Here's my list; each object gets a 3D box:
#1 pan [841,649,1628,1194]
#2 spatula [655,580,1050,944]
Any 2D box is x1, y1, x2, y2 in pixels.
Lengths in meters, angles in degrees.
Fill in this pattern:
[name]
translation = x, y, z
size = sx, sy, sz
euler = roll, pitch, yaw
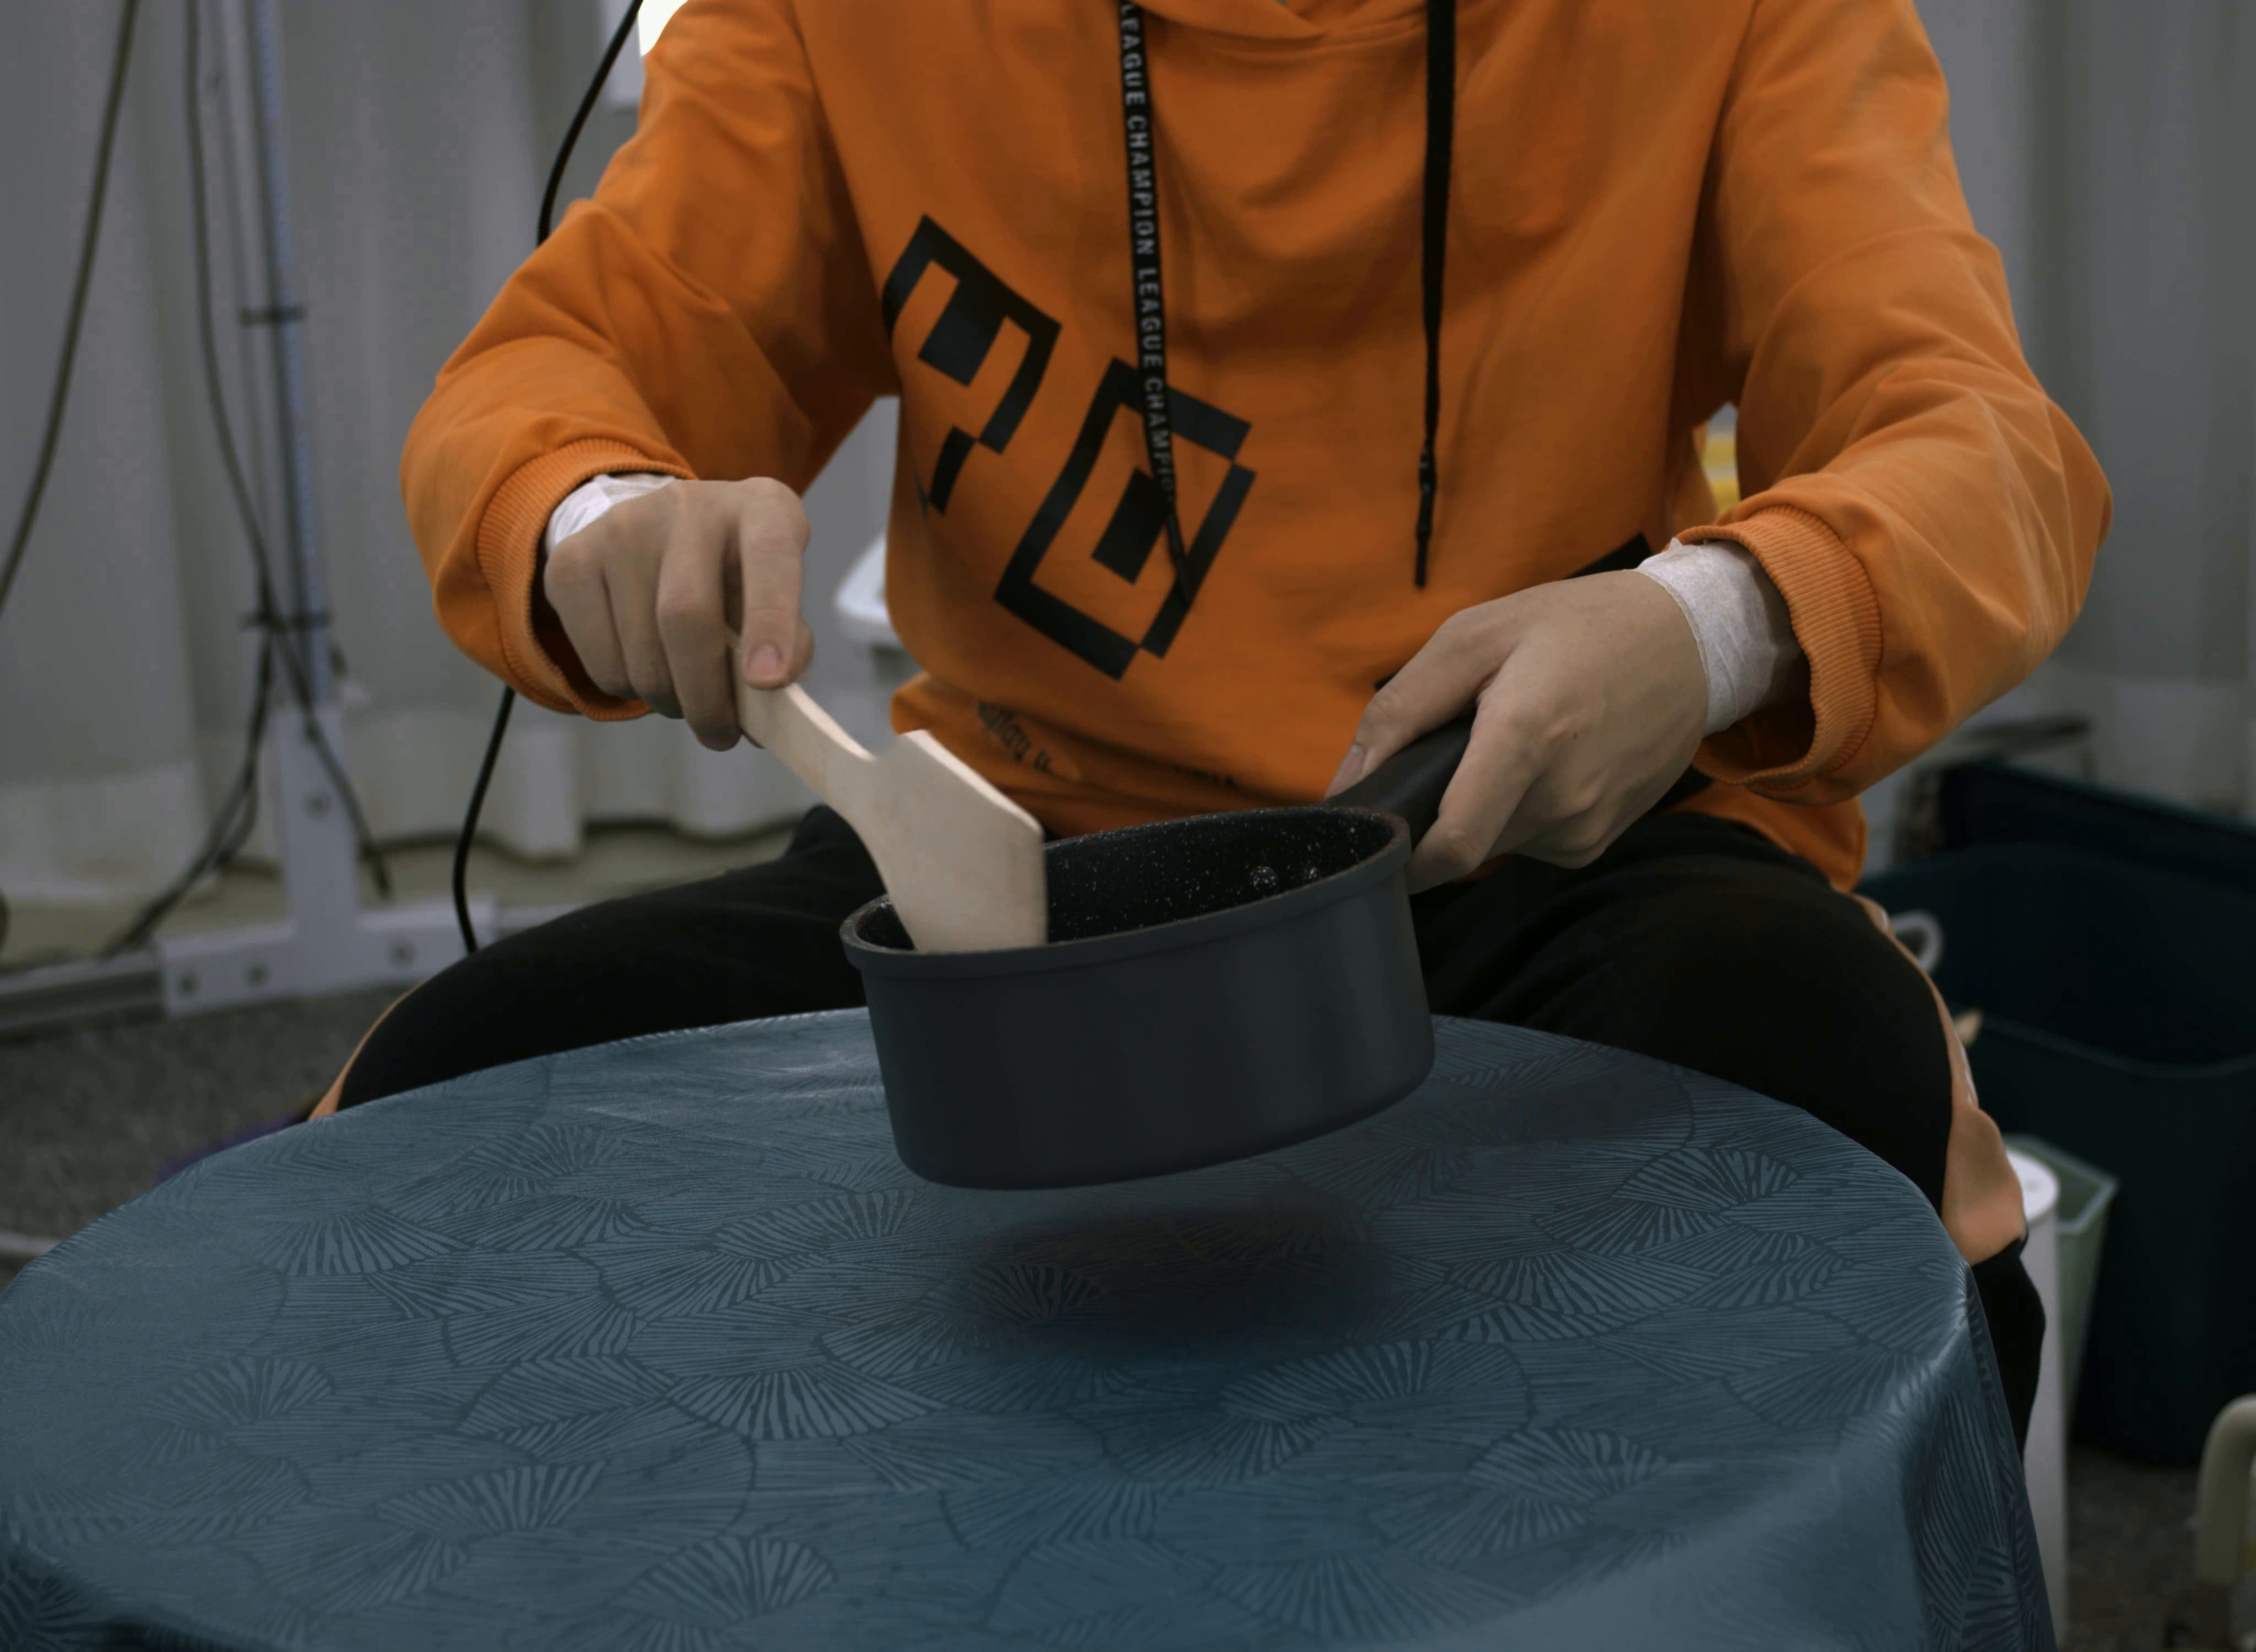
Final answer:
[pan]
translation = 0.054, 0.028, 1.677
size = 0.172, 0.086, 0.329
euler = -1, 15, 40
[spatula]
translation = -0.090, -0.022, 1.679
size = 0.010, 0.072, 0.296
euler = -12, 25, -23
